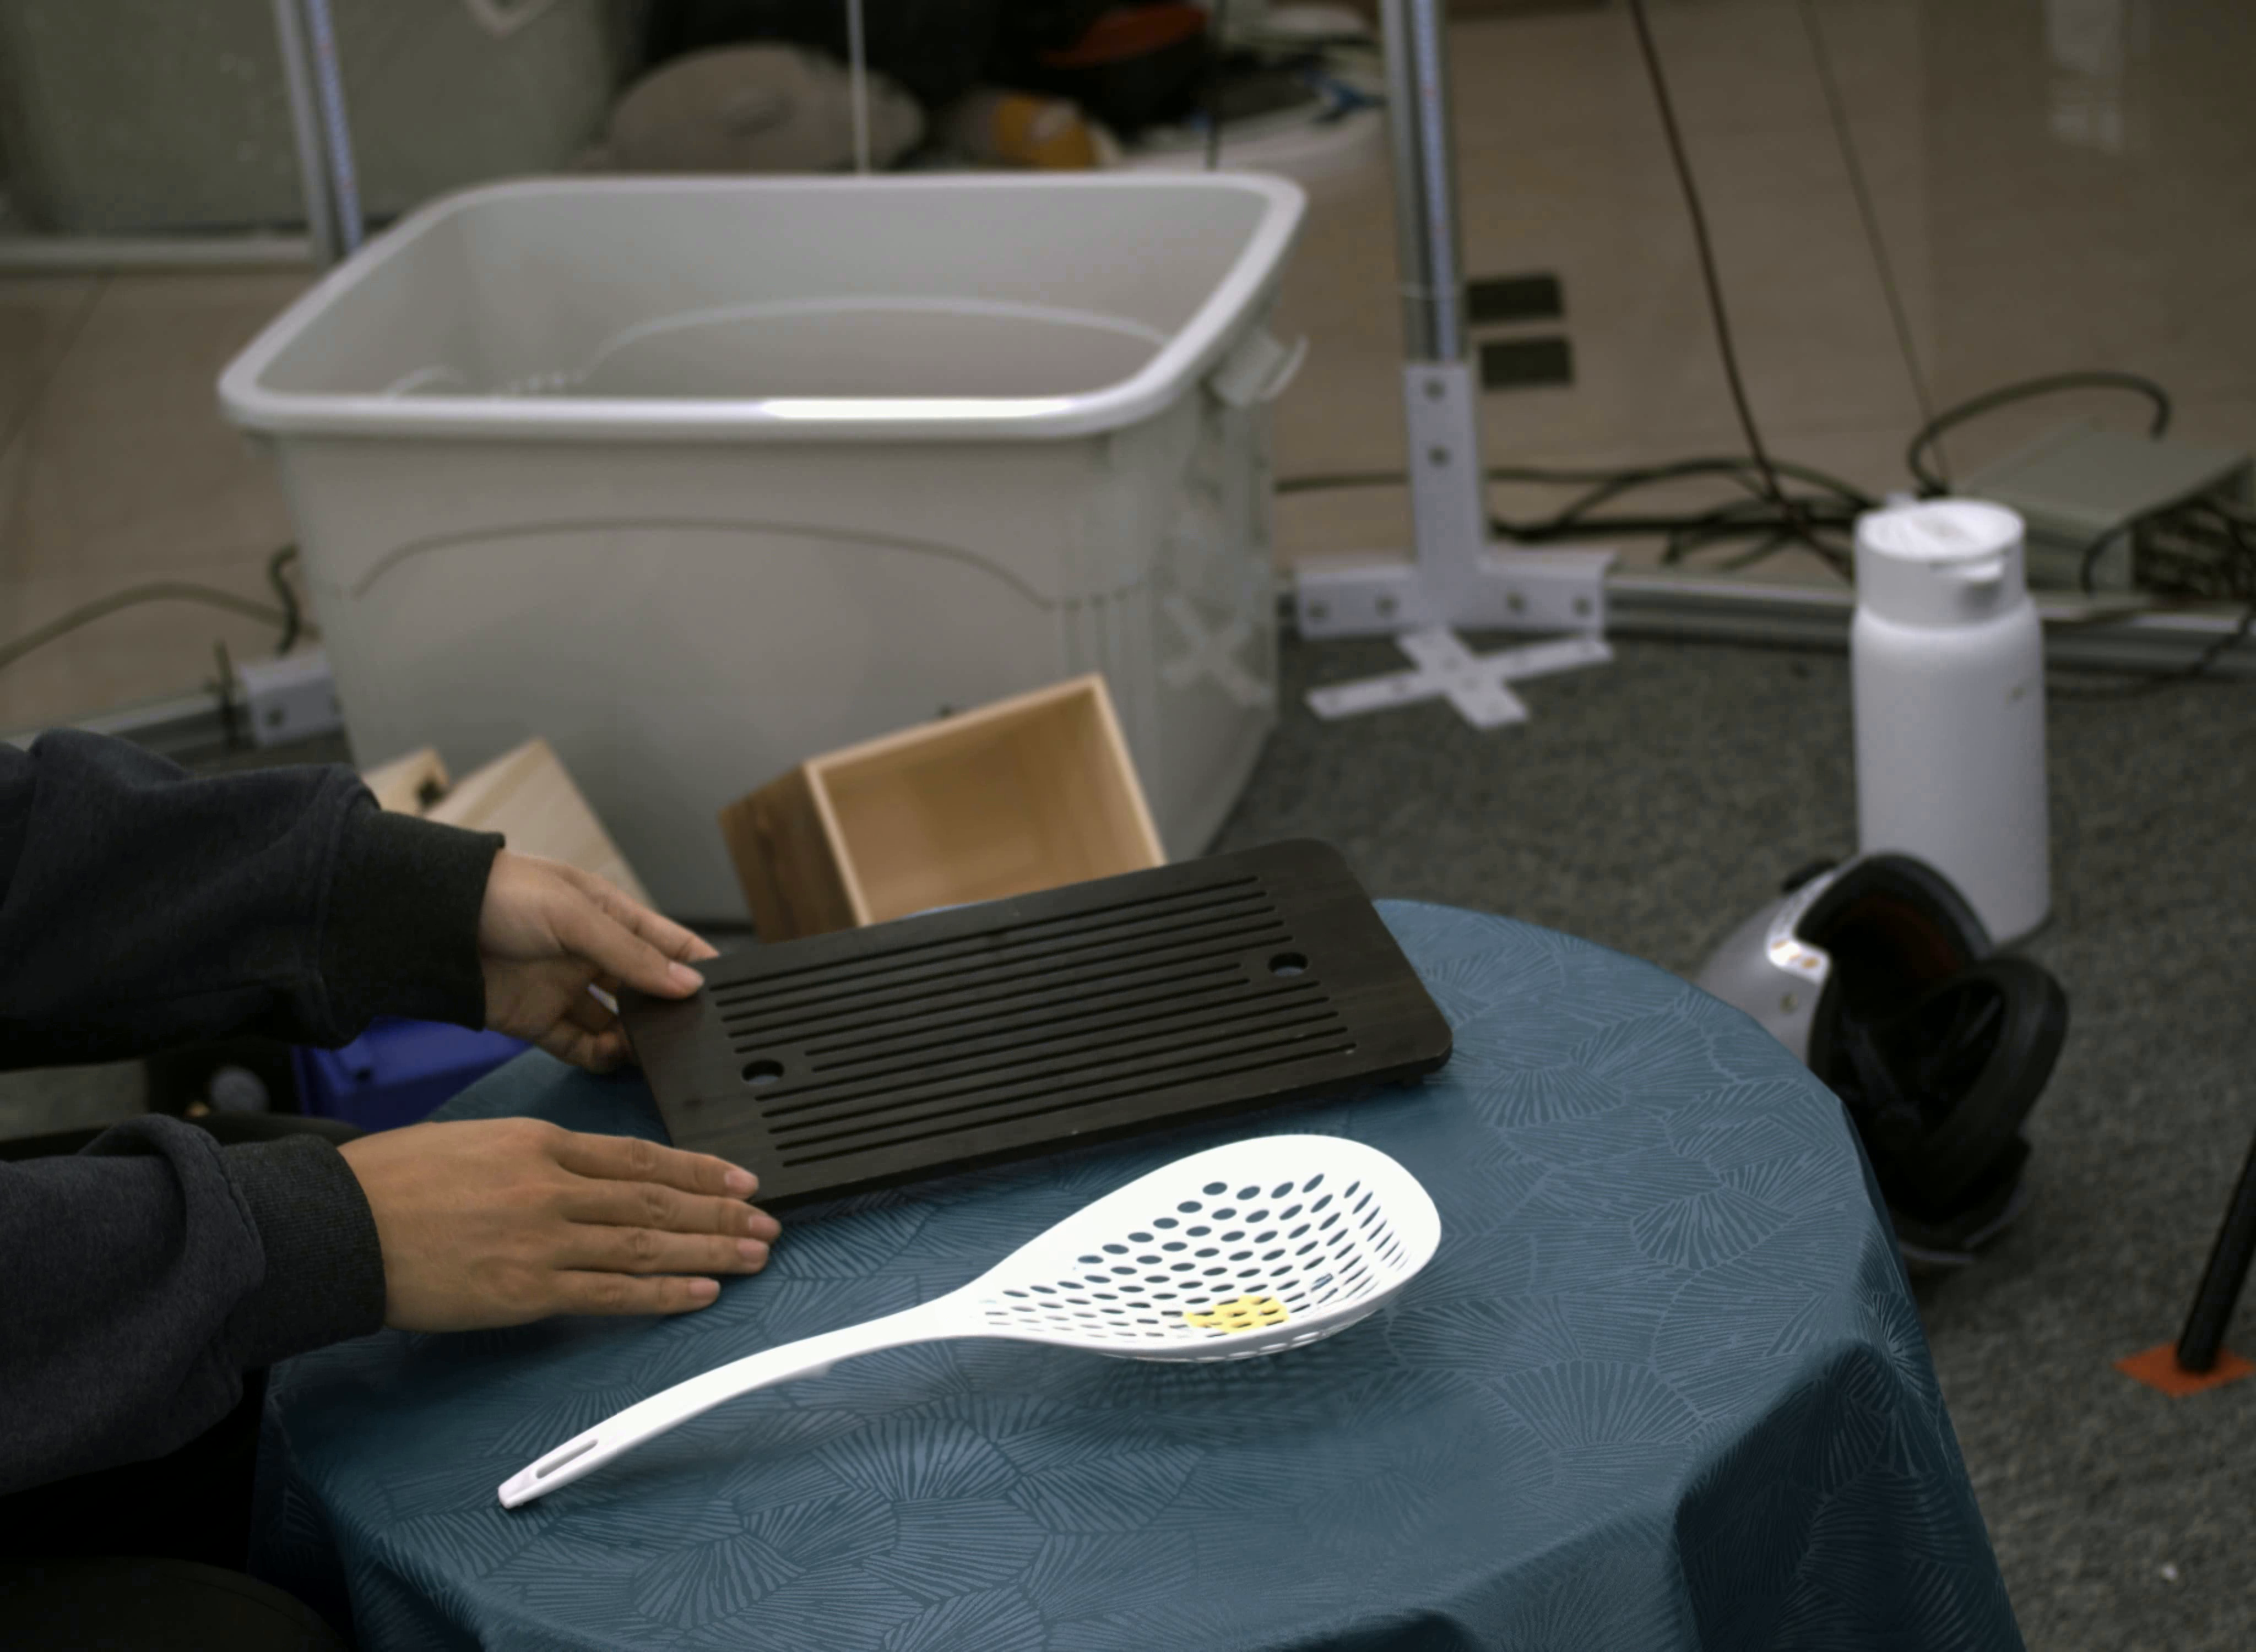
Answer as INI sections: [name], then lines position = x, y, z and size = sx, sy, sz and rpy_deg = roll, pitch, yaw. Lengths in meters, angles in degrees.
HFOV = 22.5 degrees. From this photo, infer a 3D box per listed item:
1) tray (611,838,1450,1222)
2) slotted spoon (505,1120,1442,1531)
[tray]
position = -0.040, 0.080, 2.233
size = 0.305, 0.019, 0.167
rpy_deg = -12, 33, -12
[slotted spoon]
position = -0.056, 0.183, 2.015
size = 0.347, 0.051, 0.135
rpy_deg = -12, 28, -13
